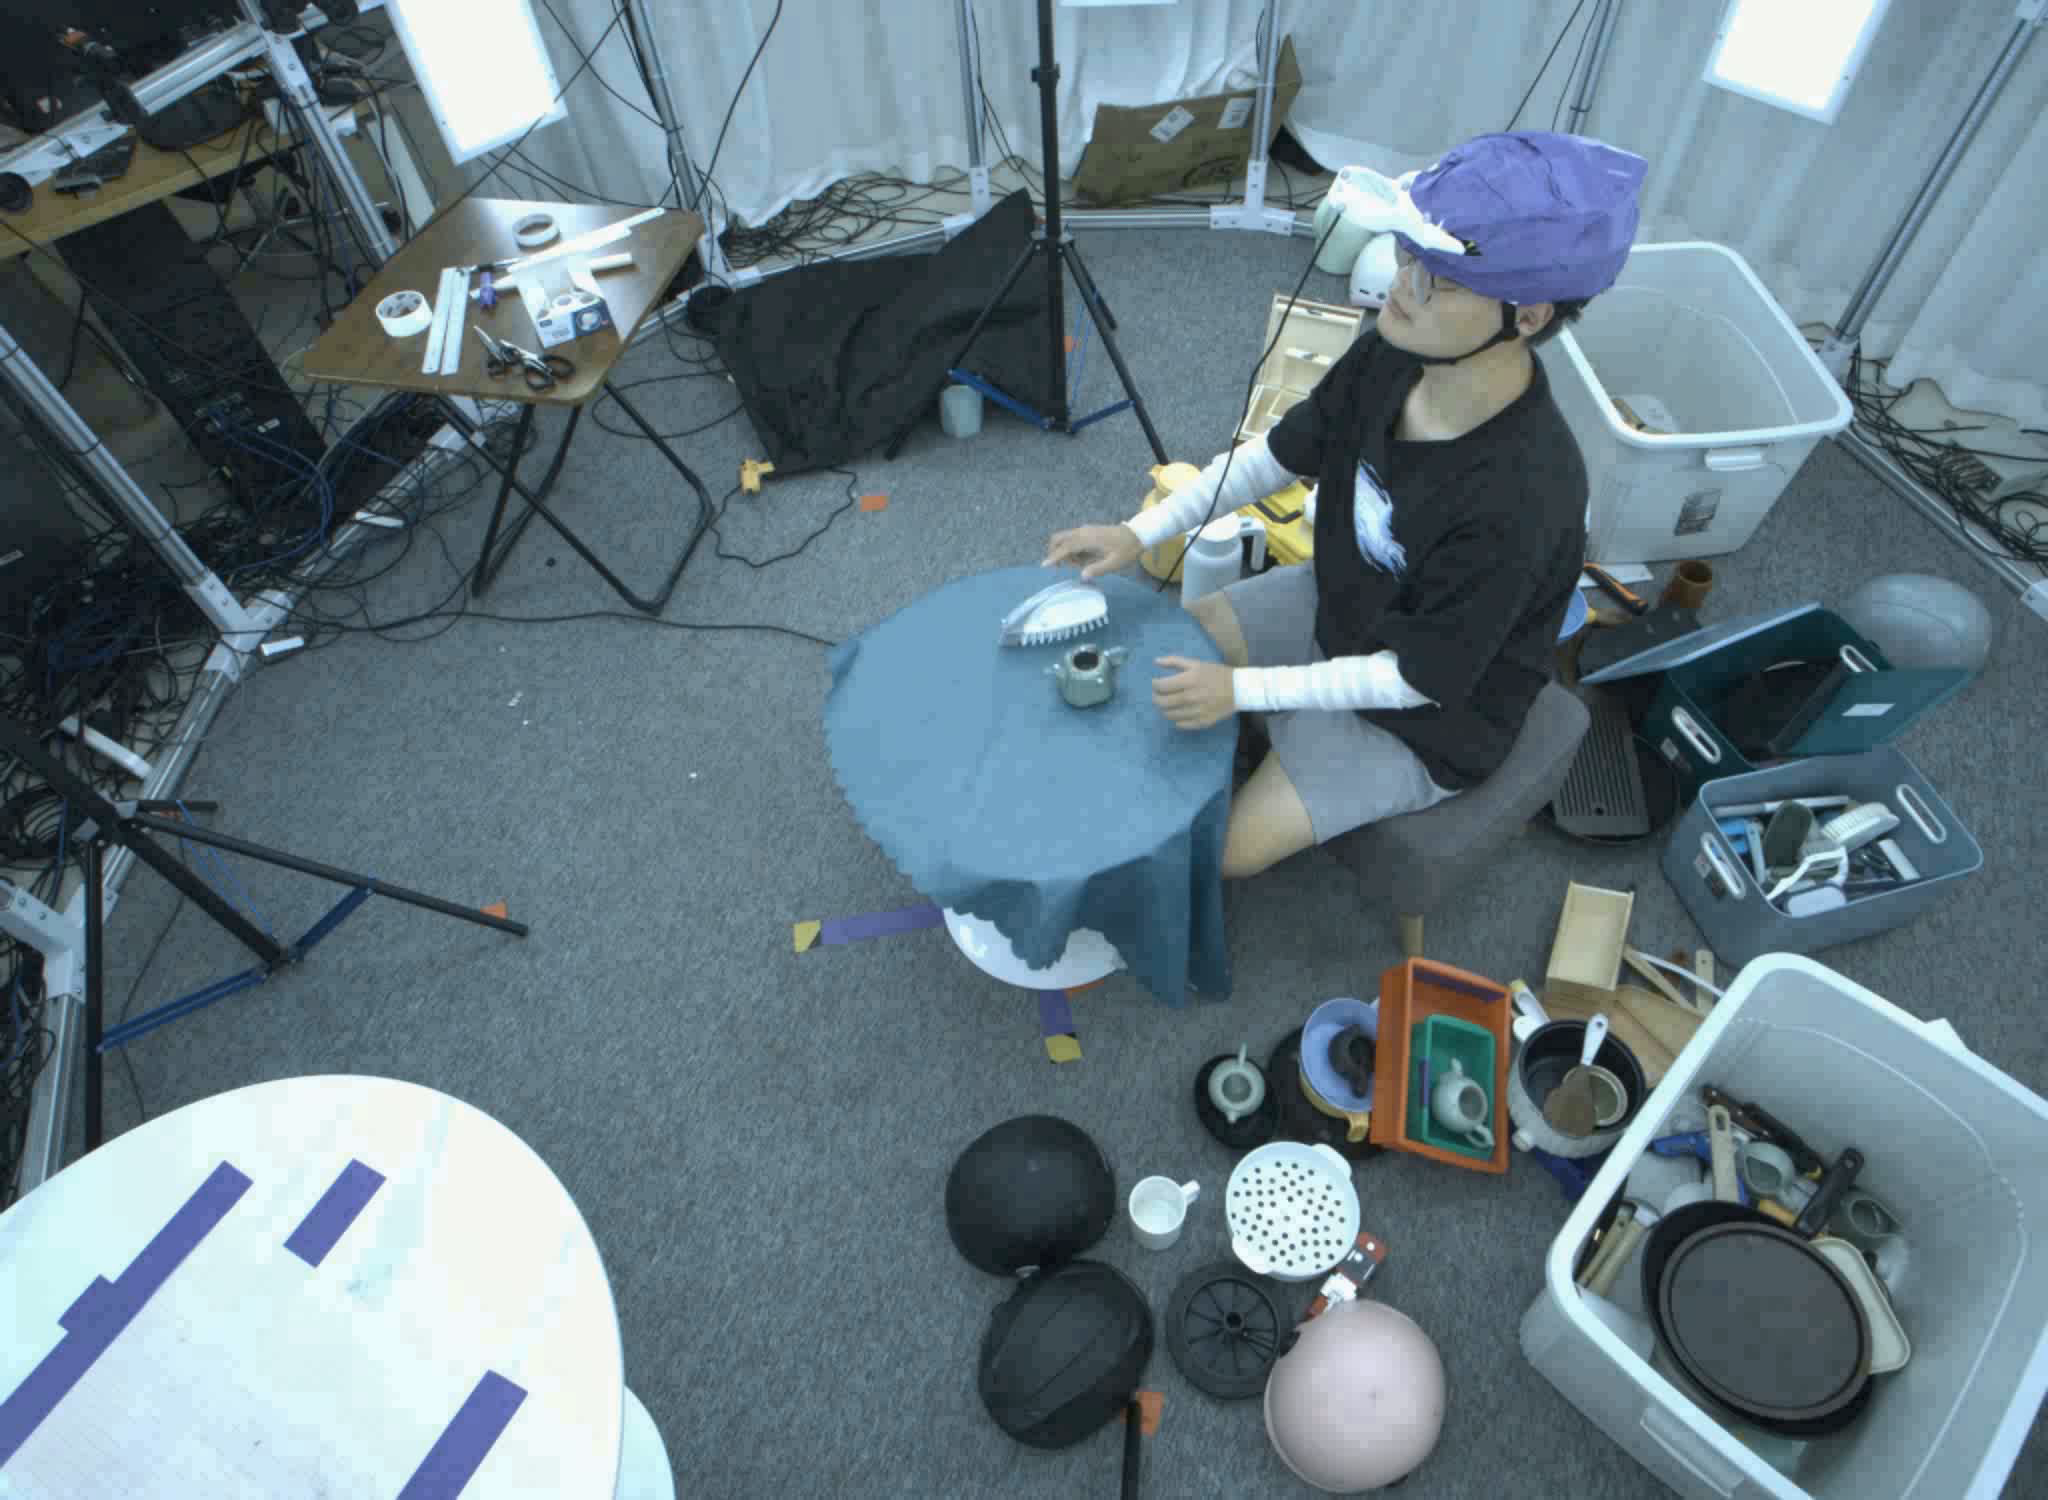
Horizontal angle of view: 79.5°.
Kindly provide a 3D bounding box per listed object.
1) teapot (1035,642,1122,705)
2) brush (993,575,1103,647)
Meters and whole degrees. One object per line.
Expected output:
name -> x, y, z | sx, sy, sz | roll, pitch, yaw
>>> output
teapot -> 0.080, -0.116, 1.814 | 0.133, 0.076, 0.078 | -15, 56, -9
brush -> 0.031, -0.214, 1.874 | 0.176, 0.095, 0.060 | -18, 50, -8
